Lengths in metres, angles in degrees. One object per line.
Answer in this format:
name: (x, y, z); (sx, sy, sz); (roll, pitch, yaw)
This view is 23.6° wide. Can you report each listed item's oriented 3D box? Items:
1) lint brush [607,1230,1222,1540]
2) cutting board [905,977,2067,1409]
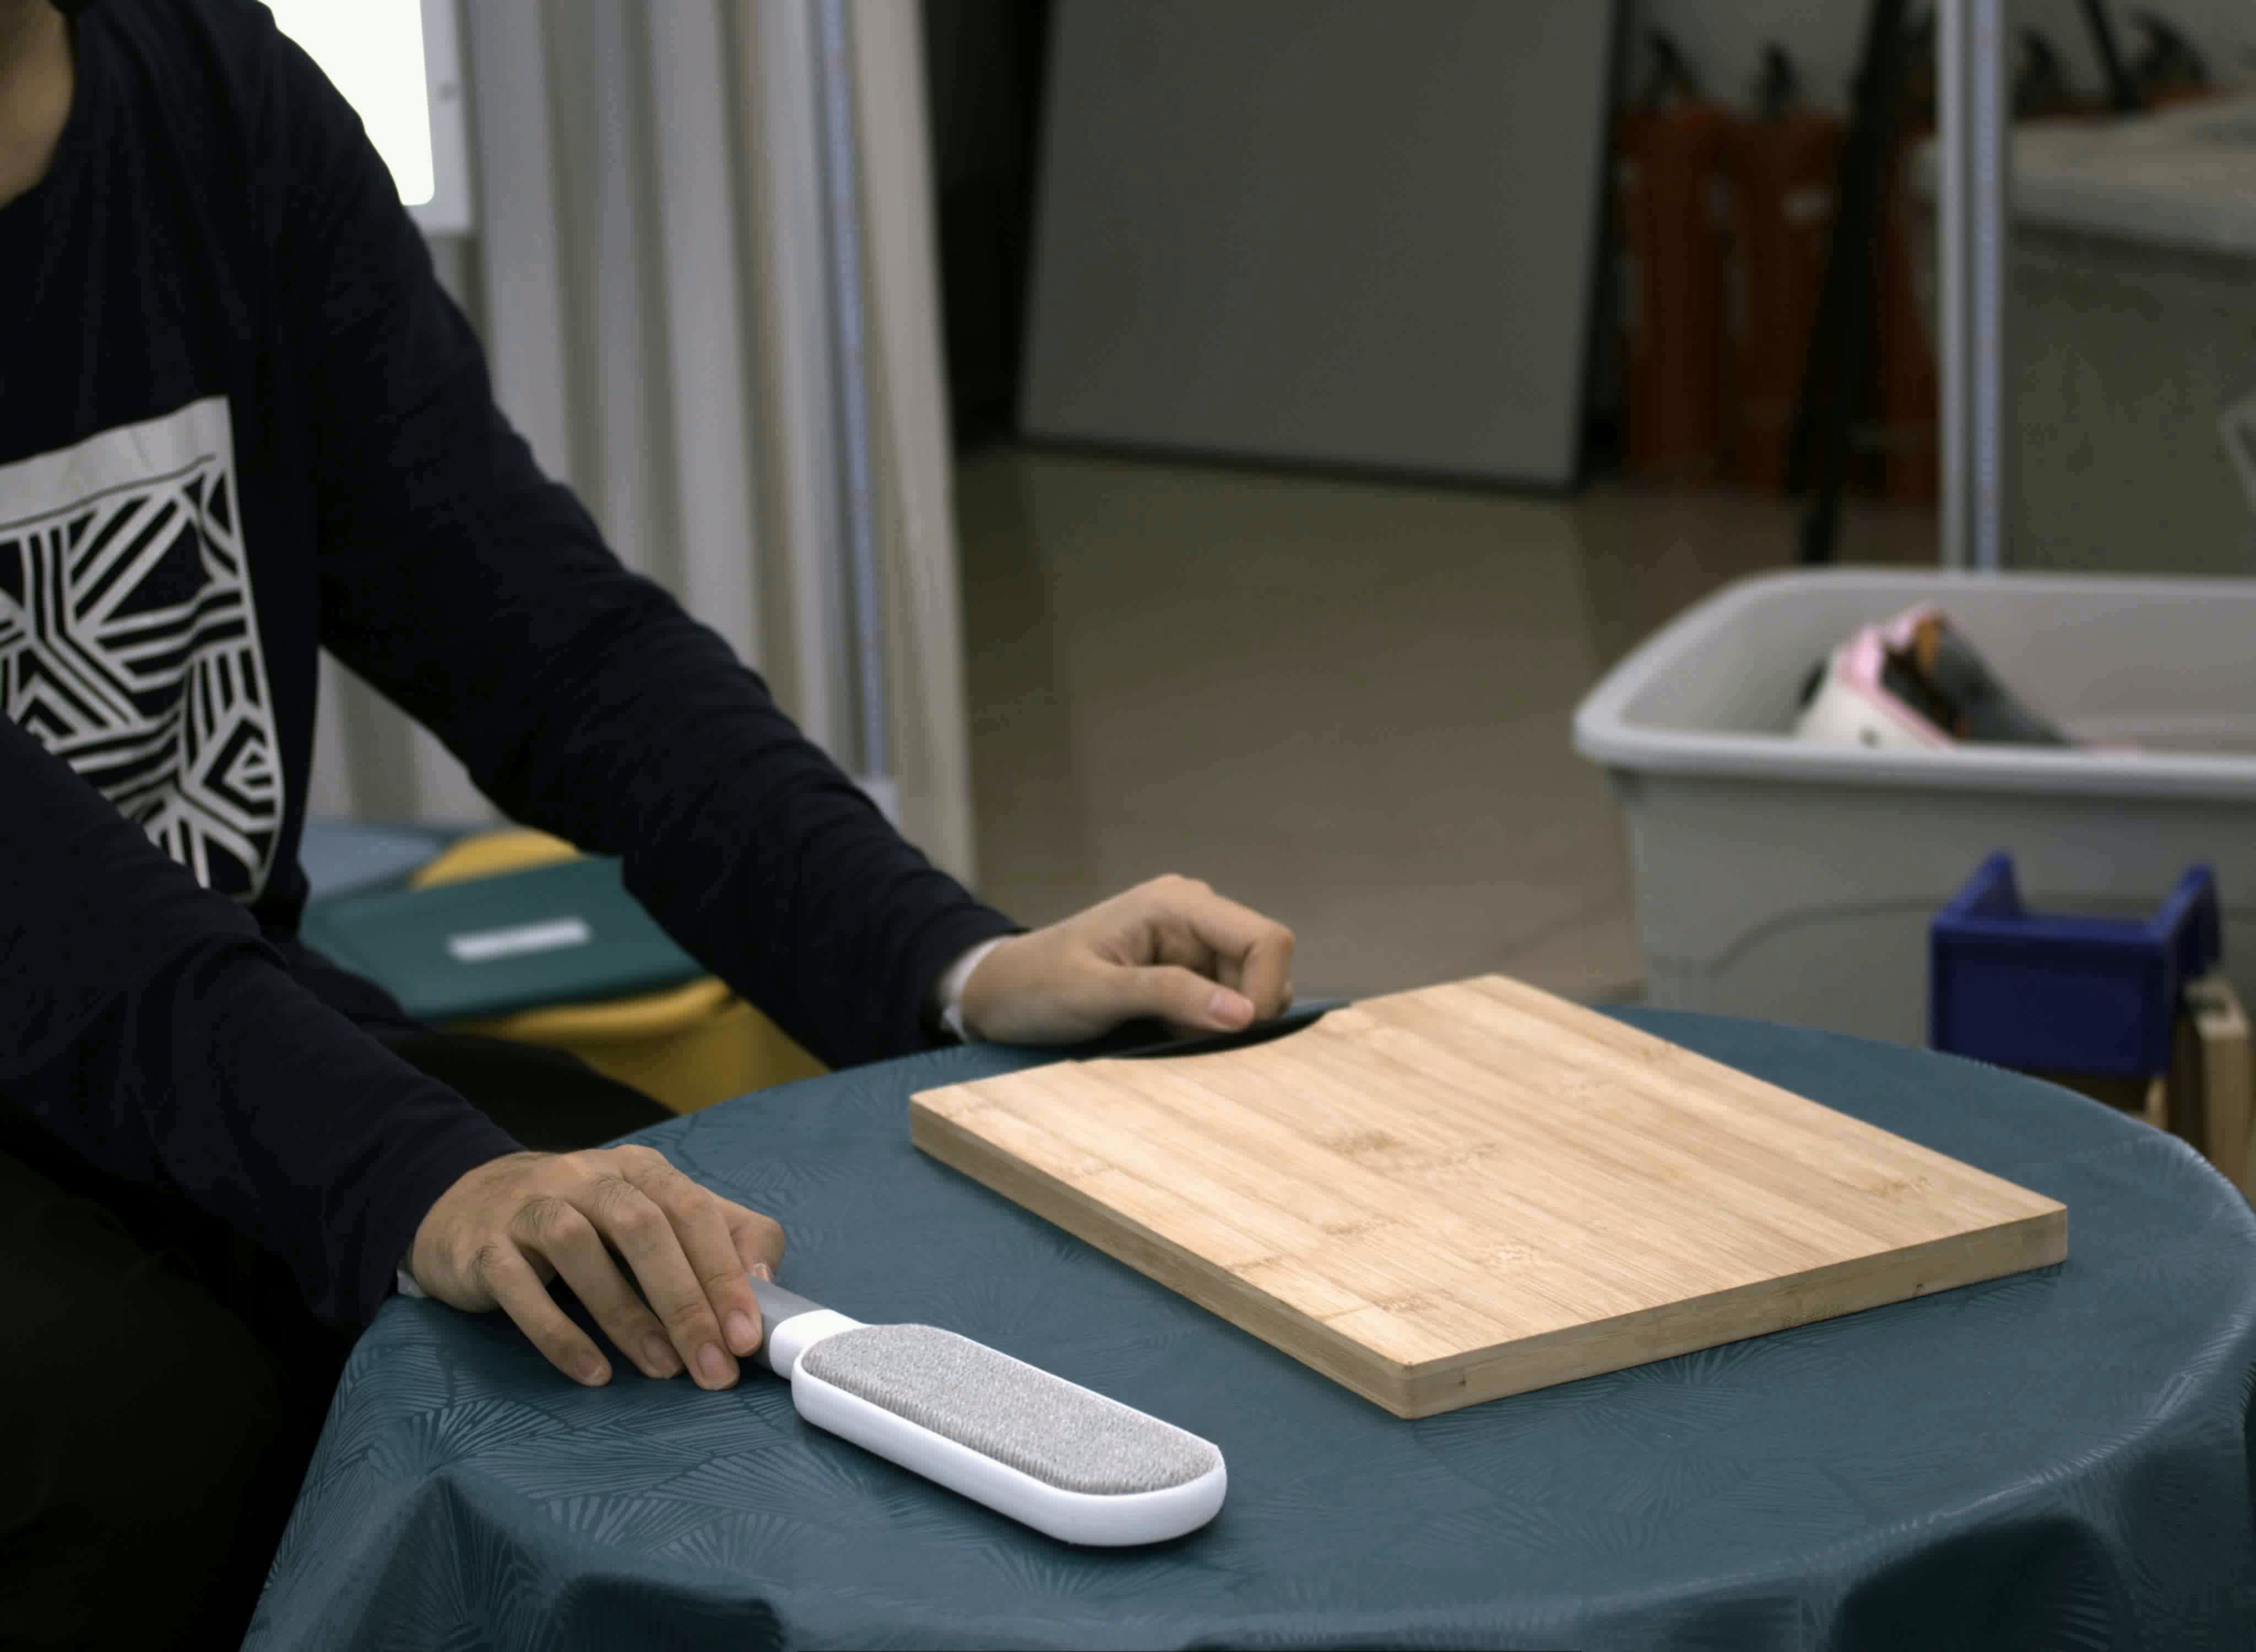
lint brush: (-0.071, 0.159, 1.581); (0.059, 0.021, 0.312); (-19, 19, -30)
cutting board: (0.106, 0.113, 1.746); (0.245, 0.024, 0.352); (-10, 15, -26)
